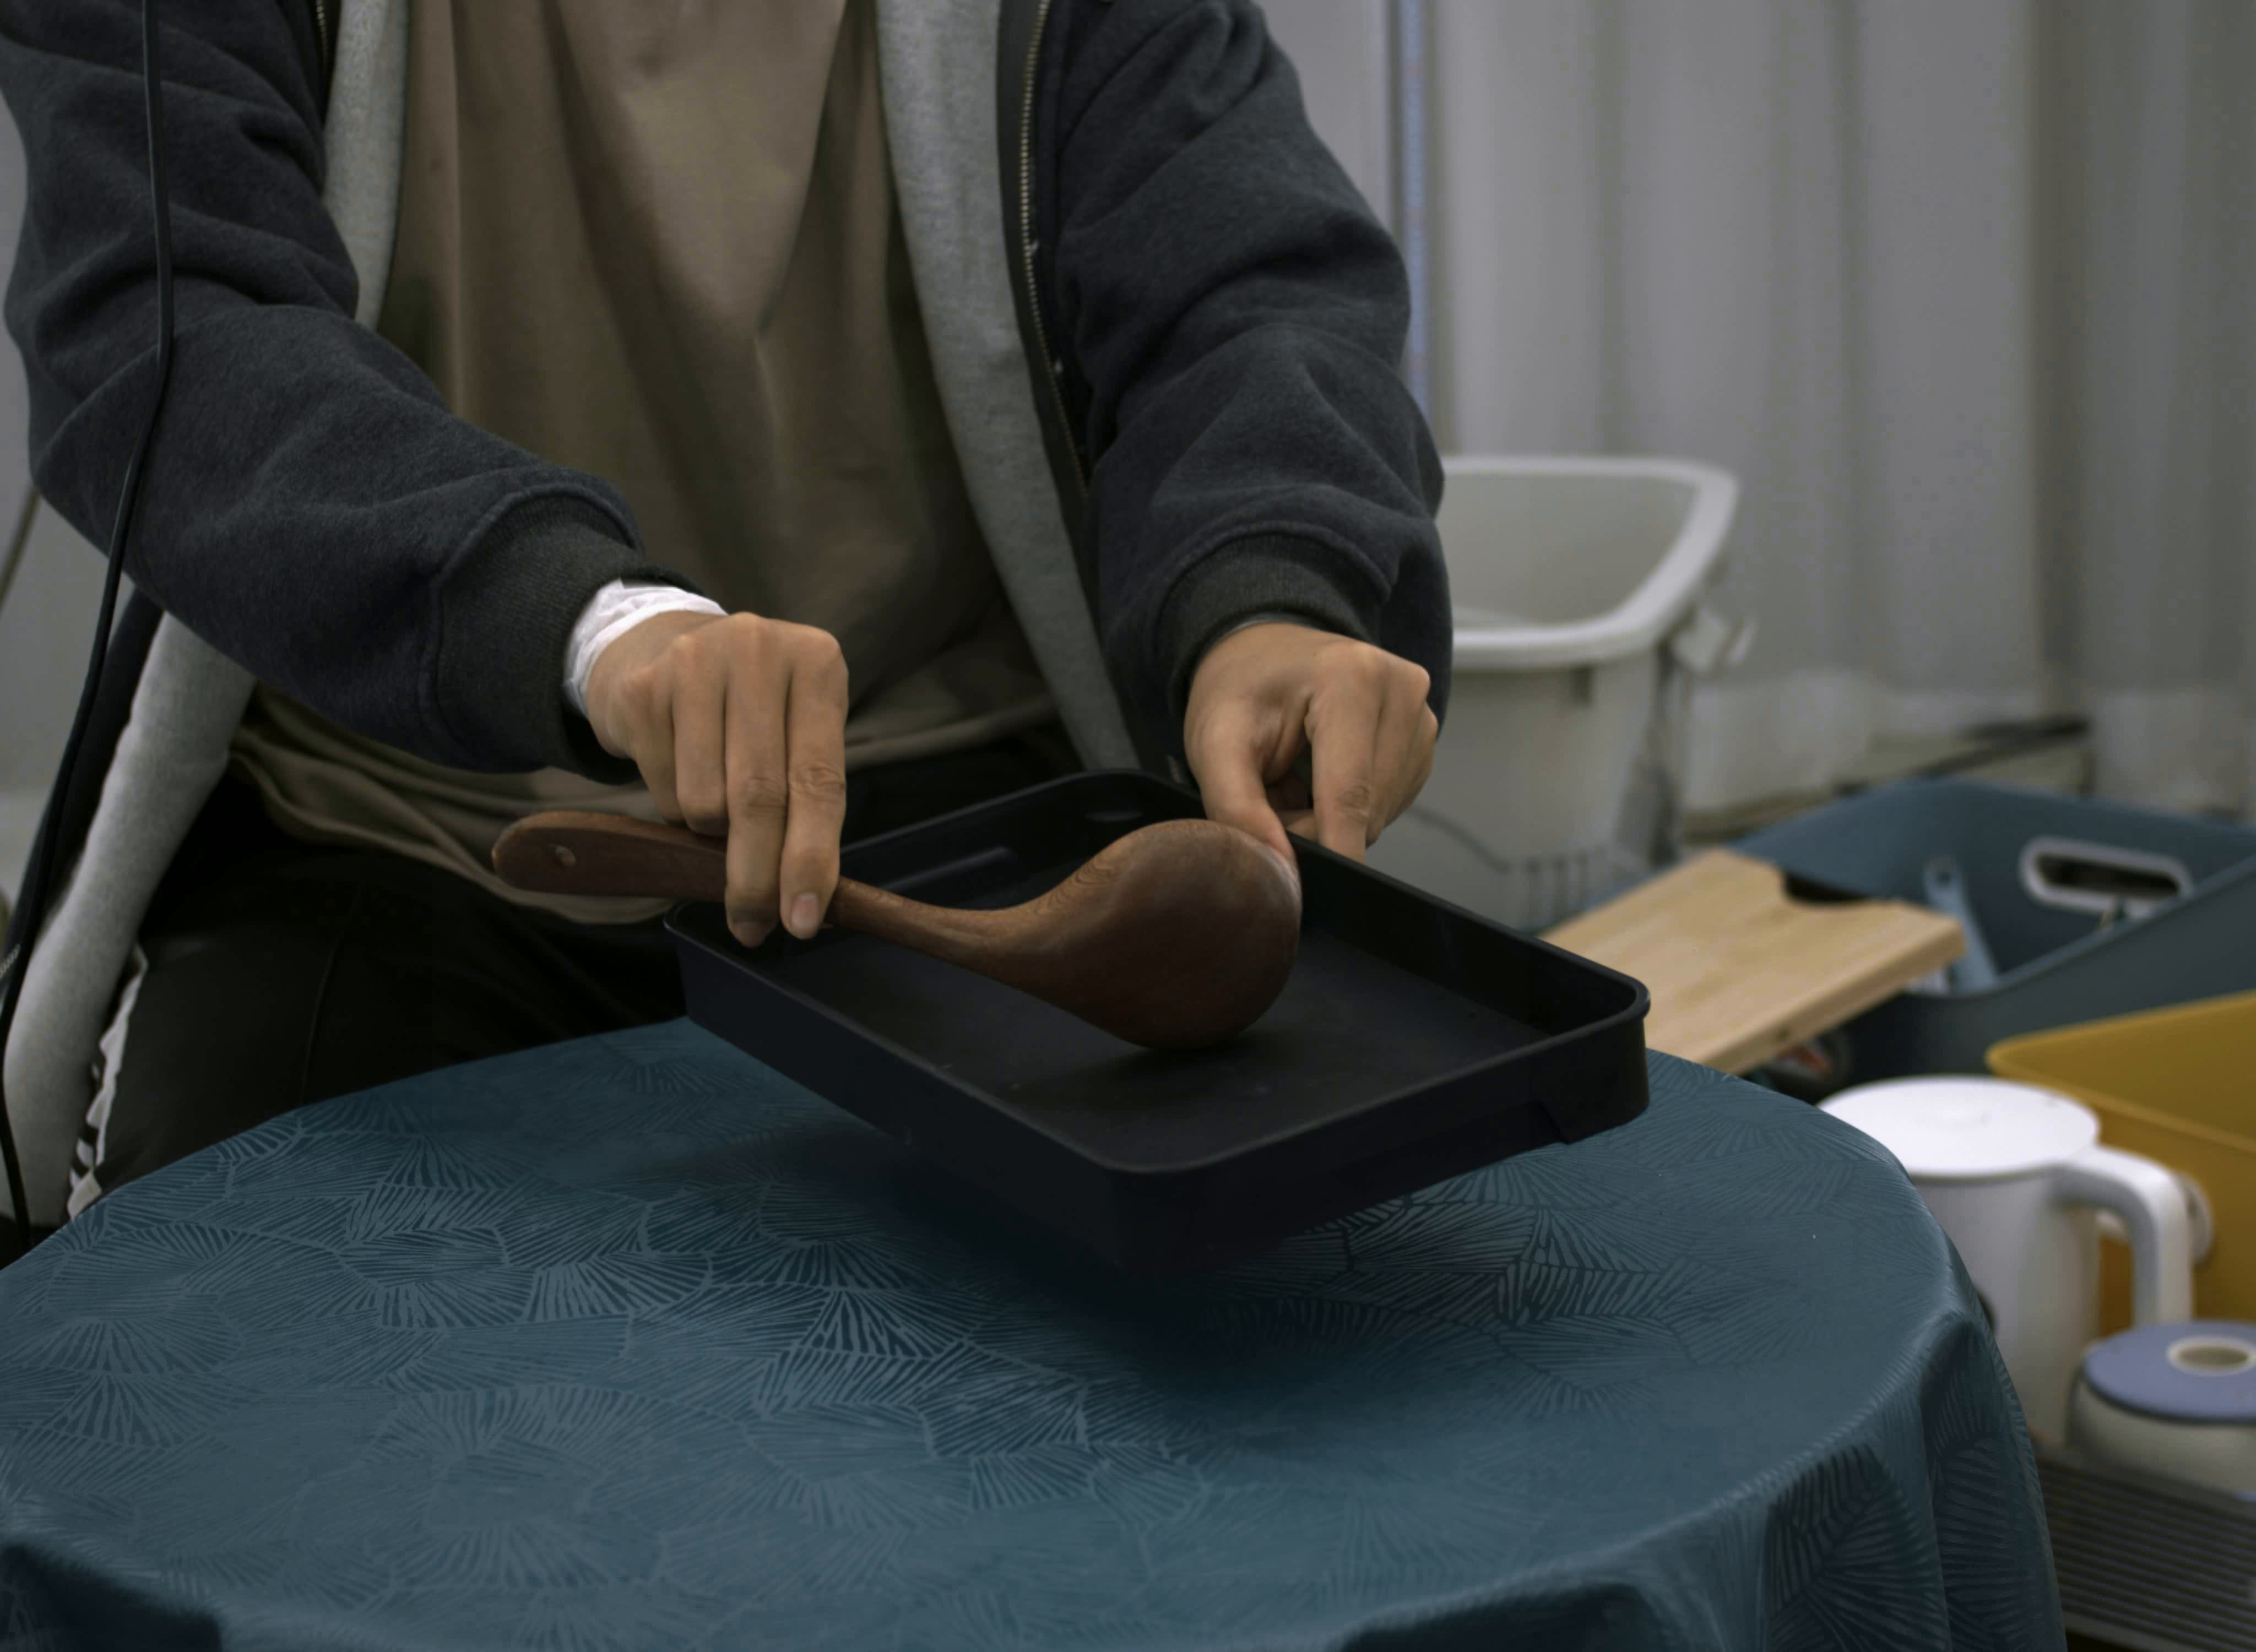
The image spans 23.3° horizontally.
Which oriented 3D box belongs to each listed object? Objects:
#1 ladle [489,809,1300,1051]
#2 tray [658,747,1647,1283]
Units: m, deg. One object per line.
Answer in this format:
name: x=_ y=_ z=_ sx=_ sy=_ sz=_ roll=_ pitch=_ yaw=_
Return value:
ladle: x=-0.072 y=0.018 z=1.686 sx=0.261 sy=0.076 sz=0.065 roll=10 pitch=26 yaw=24
tray: x=0.002 y=0.051 z=1.669 sx=0.184 sy=0.037 sz=0.321 roll=-18 pitch=23 yaw=-26
